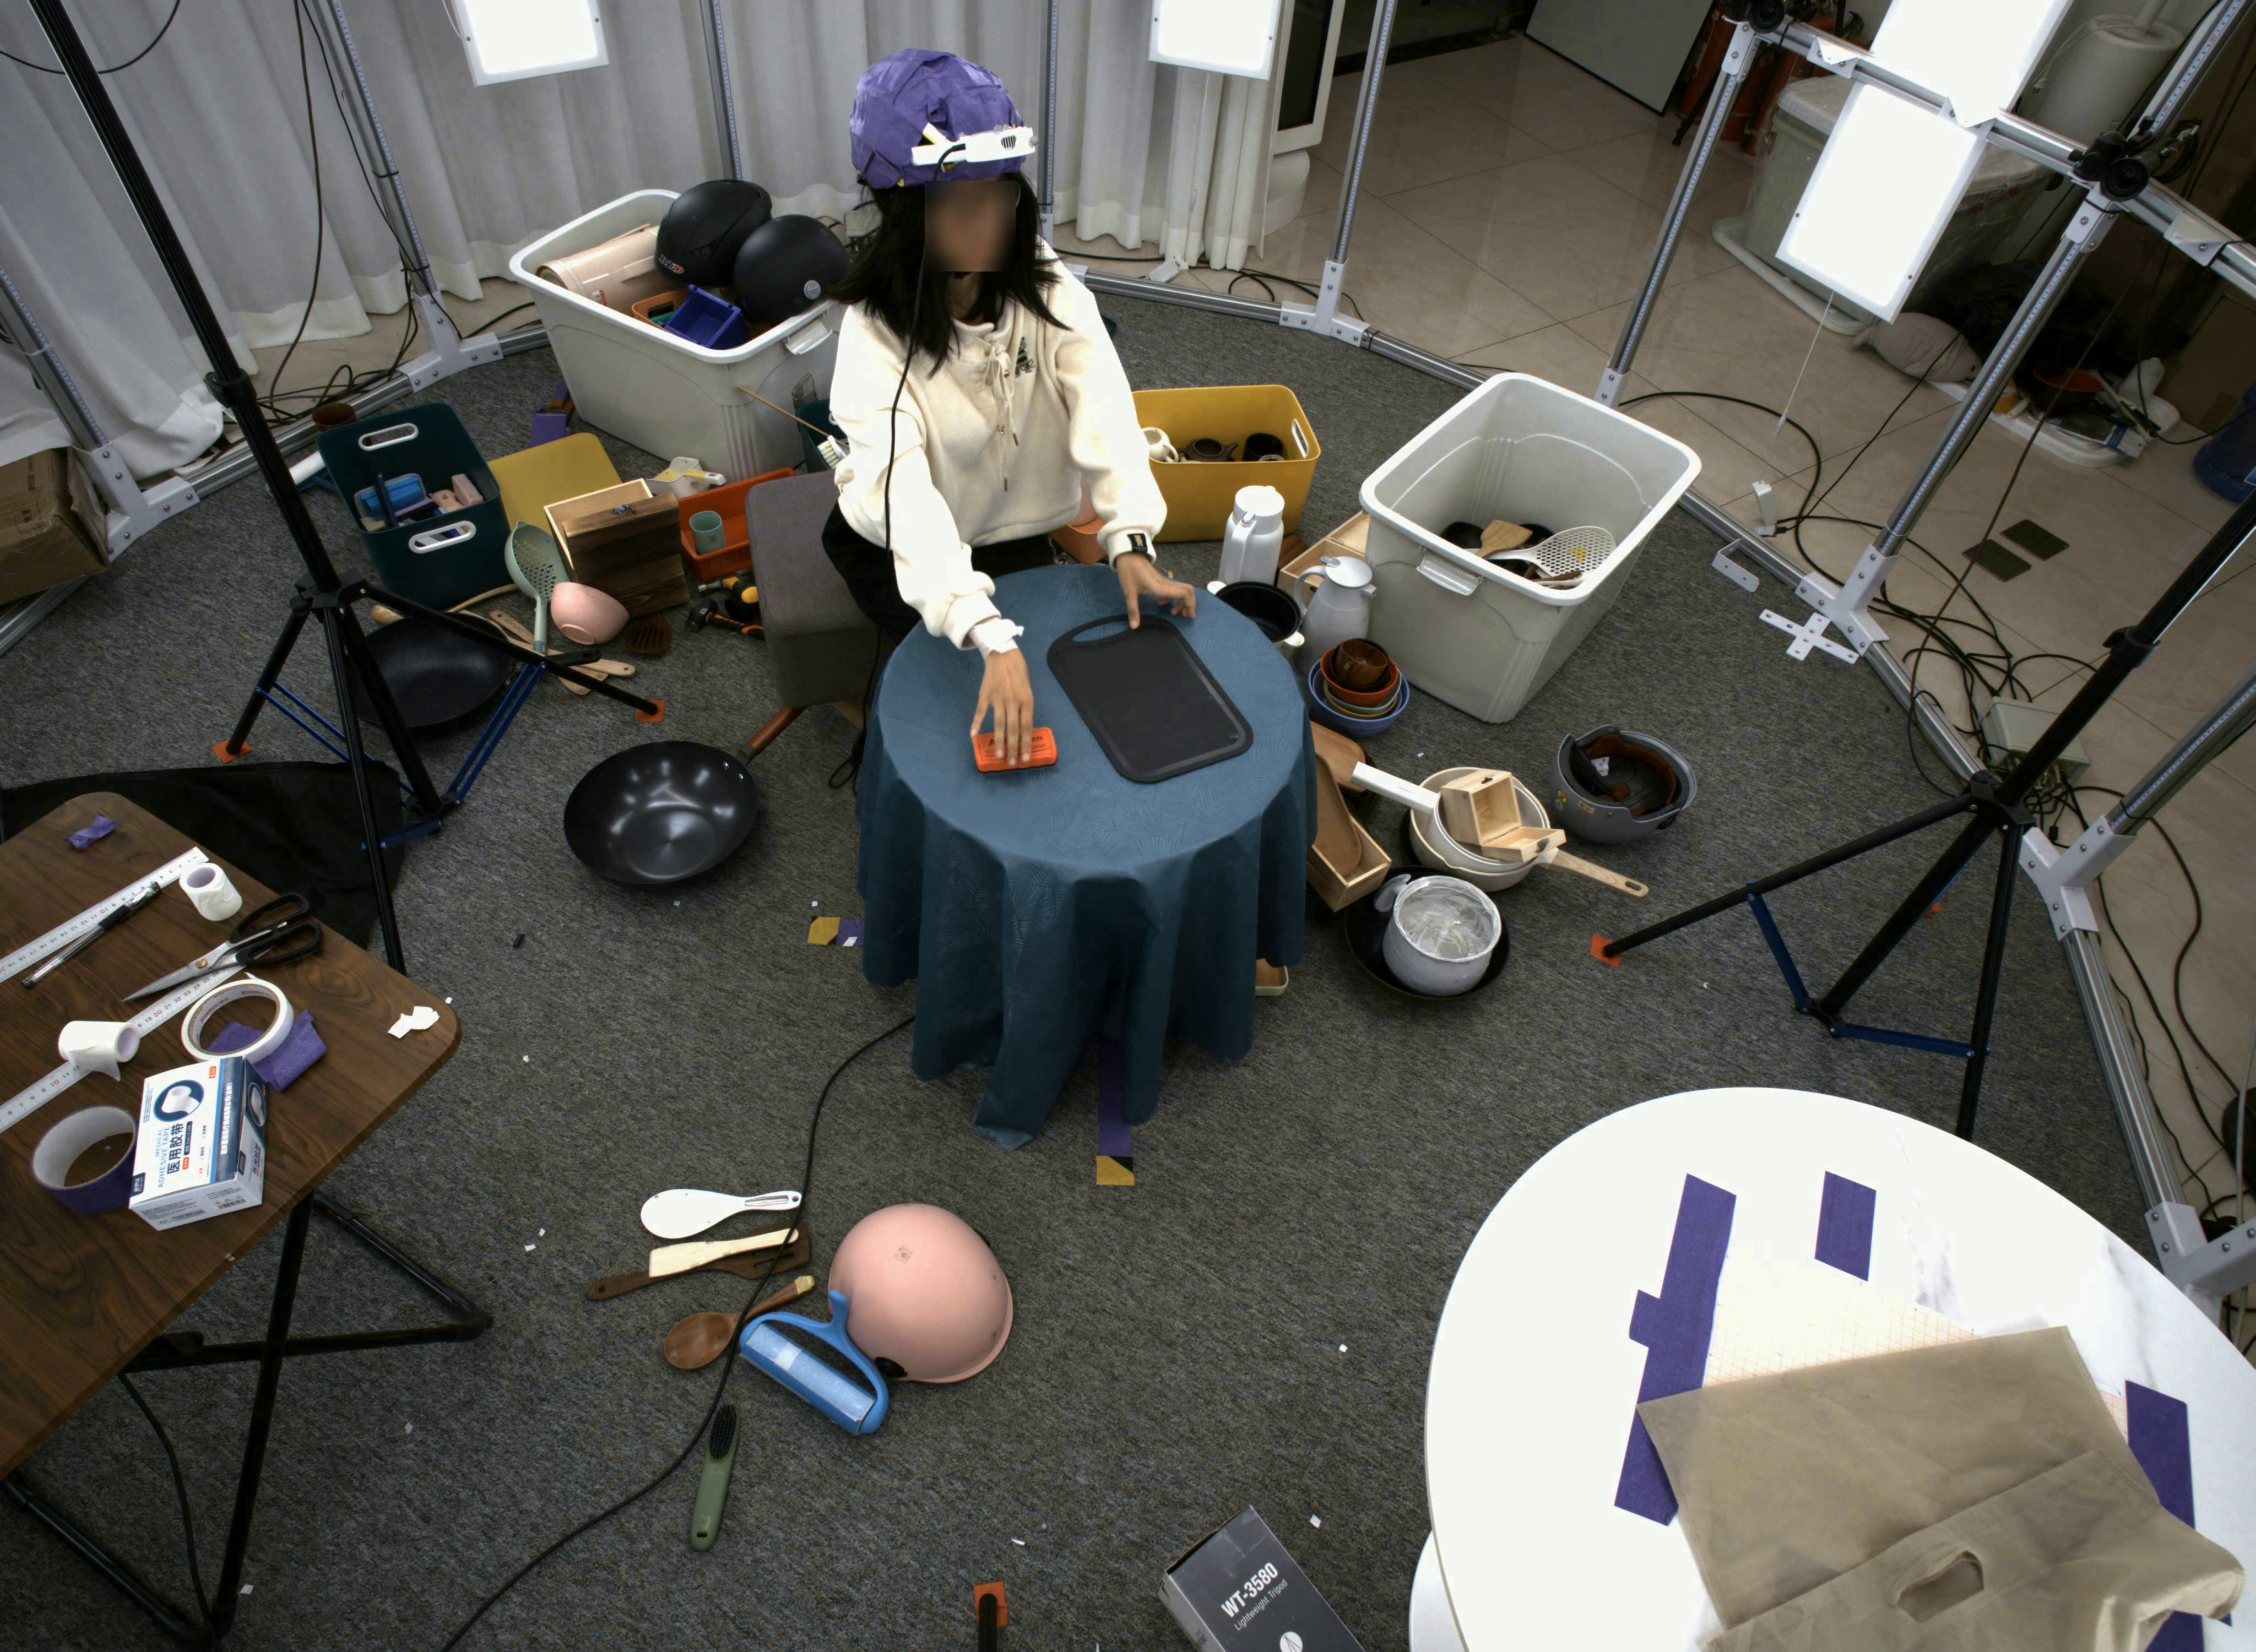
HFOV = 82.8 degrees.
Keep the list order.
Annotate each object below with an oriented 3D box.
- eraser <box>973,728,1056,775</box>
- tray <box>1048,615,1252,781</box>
[{"bbox_3d":[-0.153,-0.101,1.732,0.108,0.022,0.060,-6,50,-10],"label":"eraser"},{"bbox_3d":[0.024,-0.195,1.837,0.211,0.009,0.333,-18,53,-19],"label":"tray"}]
